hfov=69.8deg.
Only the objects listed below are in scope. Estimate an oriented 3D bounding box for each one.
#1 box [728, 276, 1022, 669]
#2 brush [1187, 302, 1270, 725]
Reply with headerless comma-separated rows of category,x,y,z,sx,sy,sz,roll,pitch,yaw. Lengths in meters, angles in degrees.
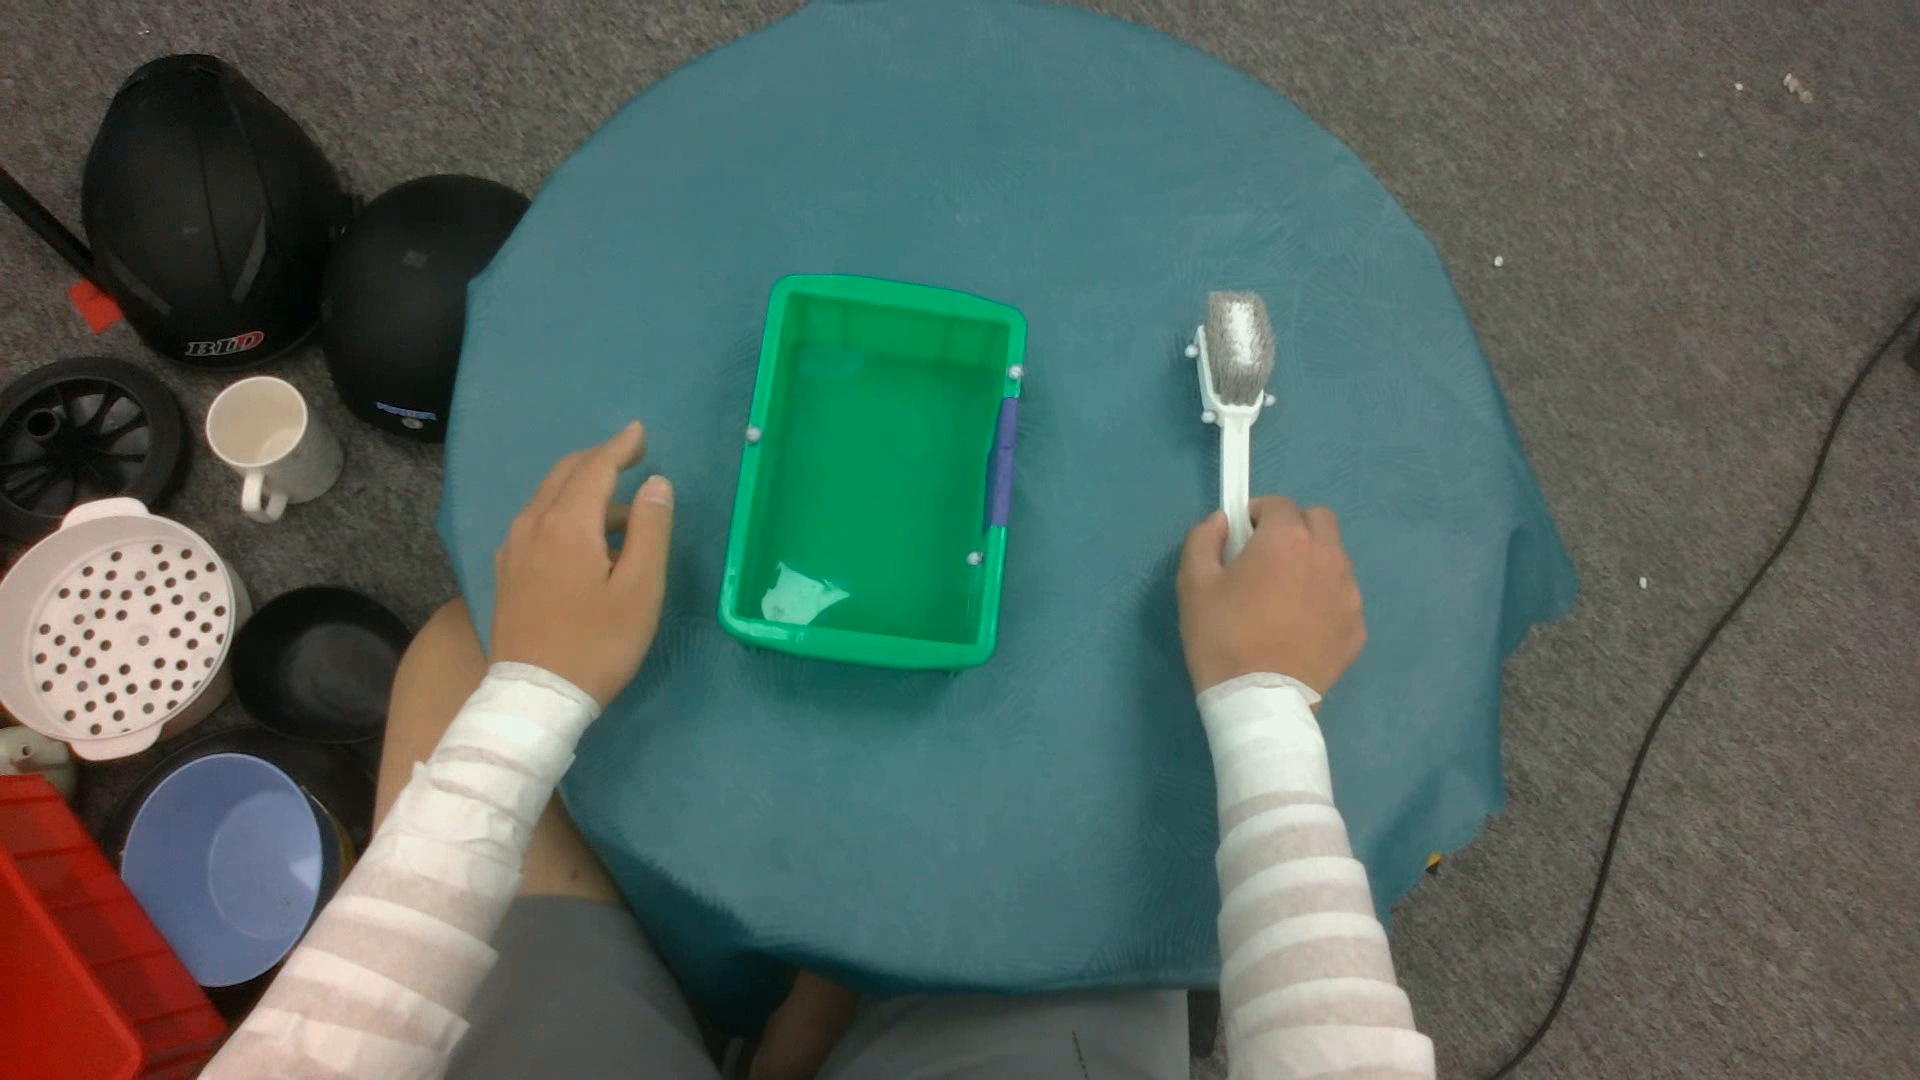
box,-0.044,-0.032,0.743,0.139,0.065,0.211,6,71,-5
brush,0.156,-0.022,0.763,0.034,0.050,0.244,2,69,-9
